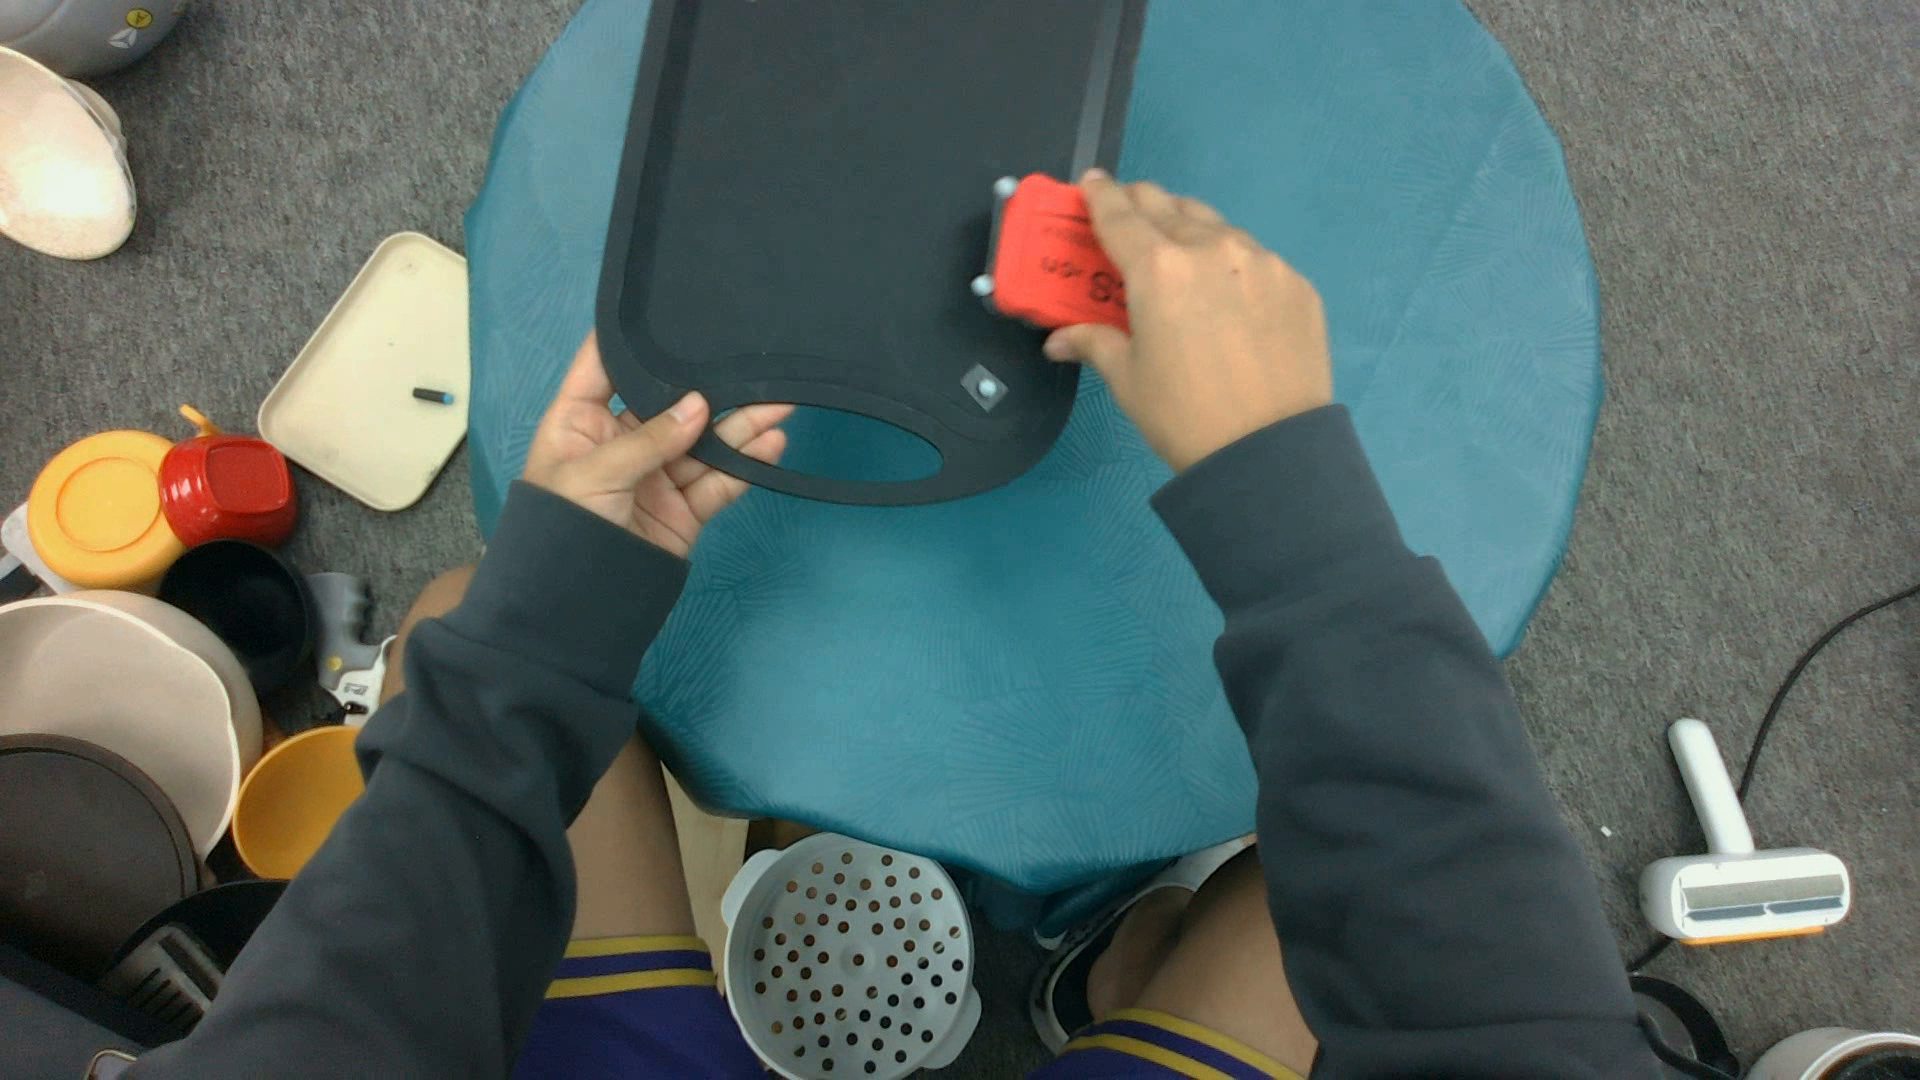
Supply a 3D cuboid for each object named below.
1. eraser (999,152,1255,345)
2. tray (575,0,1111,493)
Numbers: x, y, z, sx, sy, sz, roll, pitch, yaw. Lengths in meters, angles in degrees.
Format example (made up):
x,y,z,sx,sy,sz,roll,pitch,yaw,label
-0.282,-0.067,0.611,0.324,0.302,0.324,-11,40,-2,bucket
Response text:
x,y,z,sx,sy,sz,roll,pitch,yaw,label
0.073,-0.124,0.593,0.108,0.023,0.059,13,85,-20,eraser
-0.044,-0.183,0.600,0.211,0.010,0.325,9,86,-11,tray
